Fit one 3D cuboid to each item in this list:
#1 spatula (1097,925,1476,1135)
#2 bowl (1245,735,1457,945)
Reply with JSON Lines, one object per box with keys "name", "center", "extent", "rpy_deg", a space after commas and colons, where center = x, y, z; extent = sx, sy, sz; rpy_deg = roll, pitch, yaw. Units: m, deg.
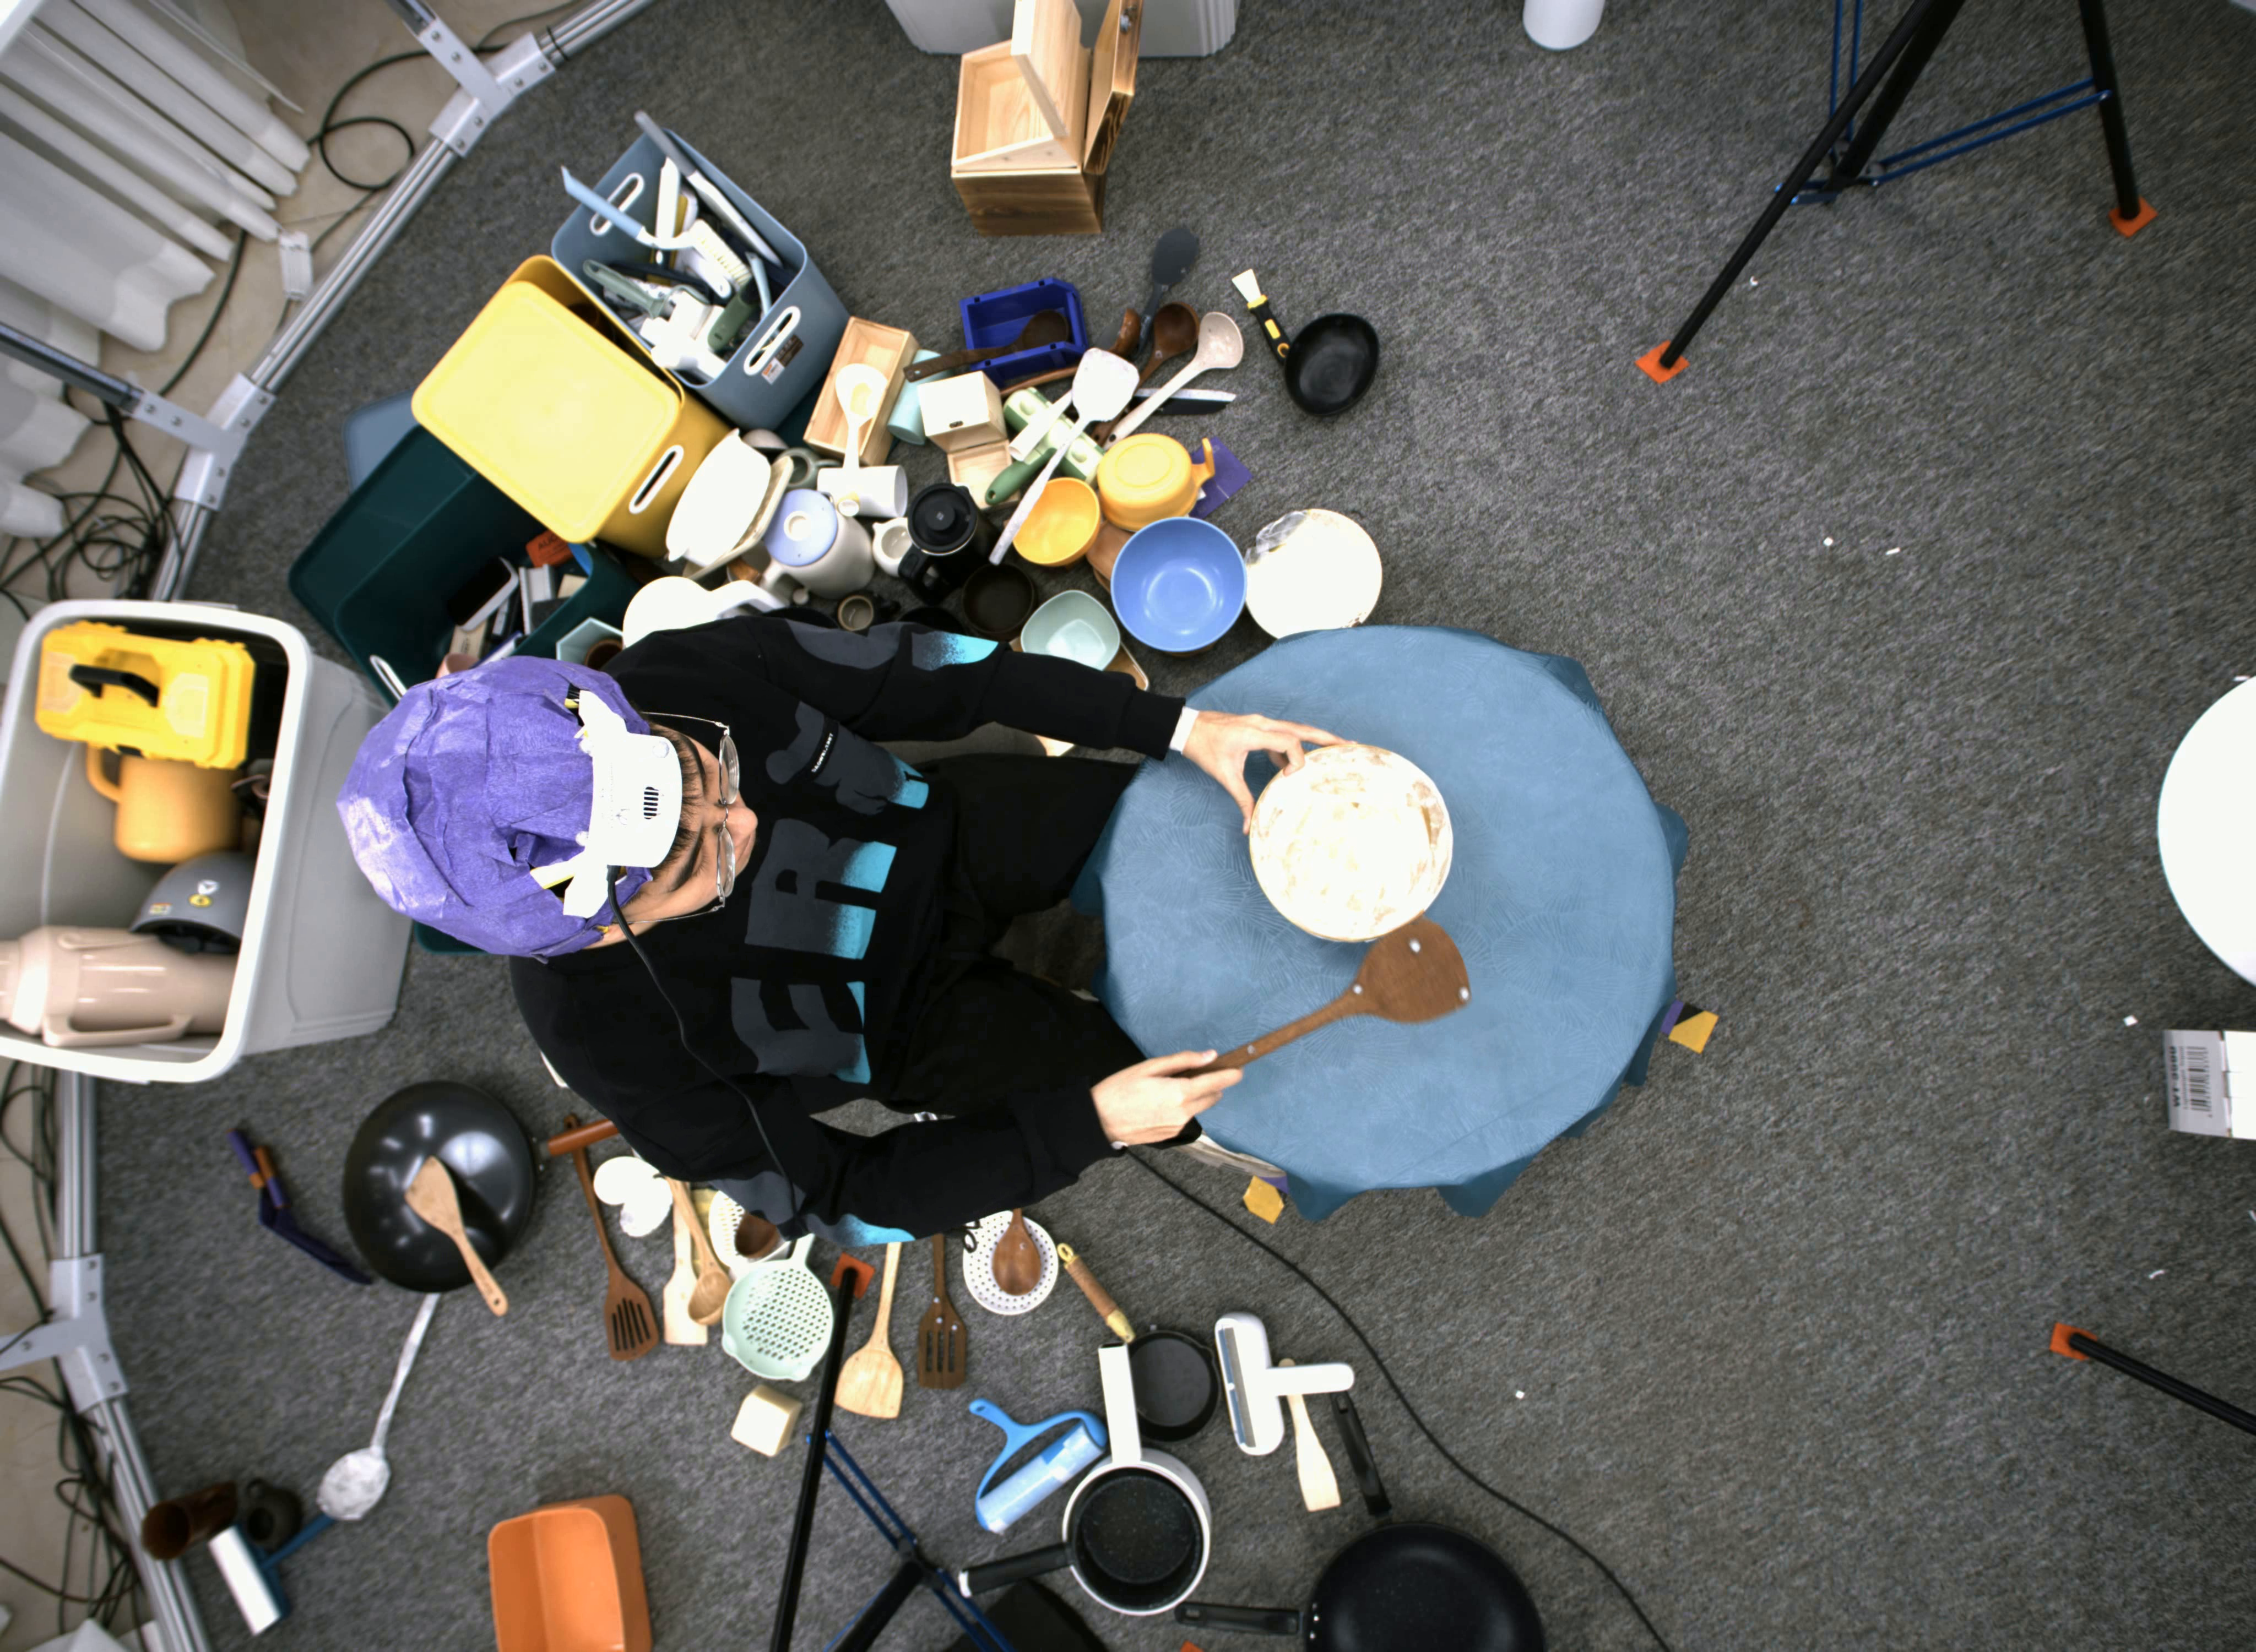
{"name": "spatula", "center": [0.144, 0.209, 1.322], "extent": [0.388, 0.015, 0.096], "rpy_deg": [-26, 93, 8]}
{"name": "bowl", "center": [0.228, 0.020, 1.423], "extent": [0.215, 0.095, 0.213], "rpy_deg": [-1, 85, 8]}
